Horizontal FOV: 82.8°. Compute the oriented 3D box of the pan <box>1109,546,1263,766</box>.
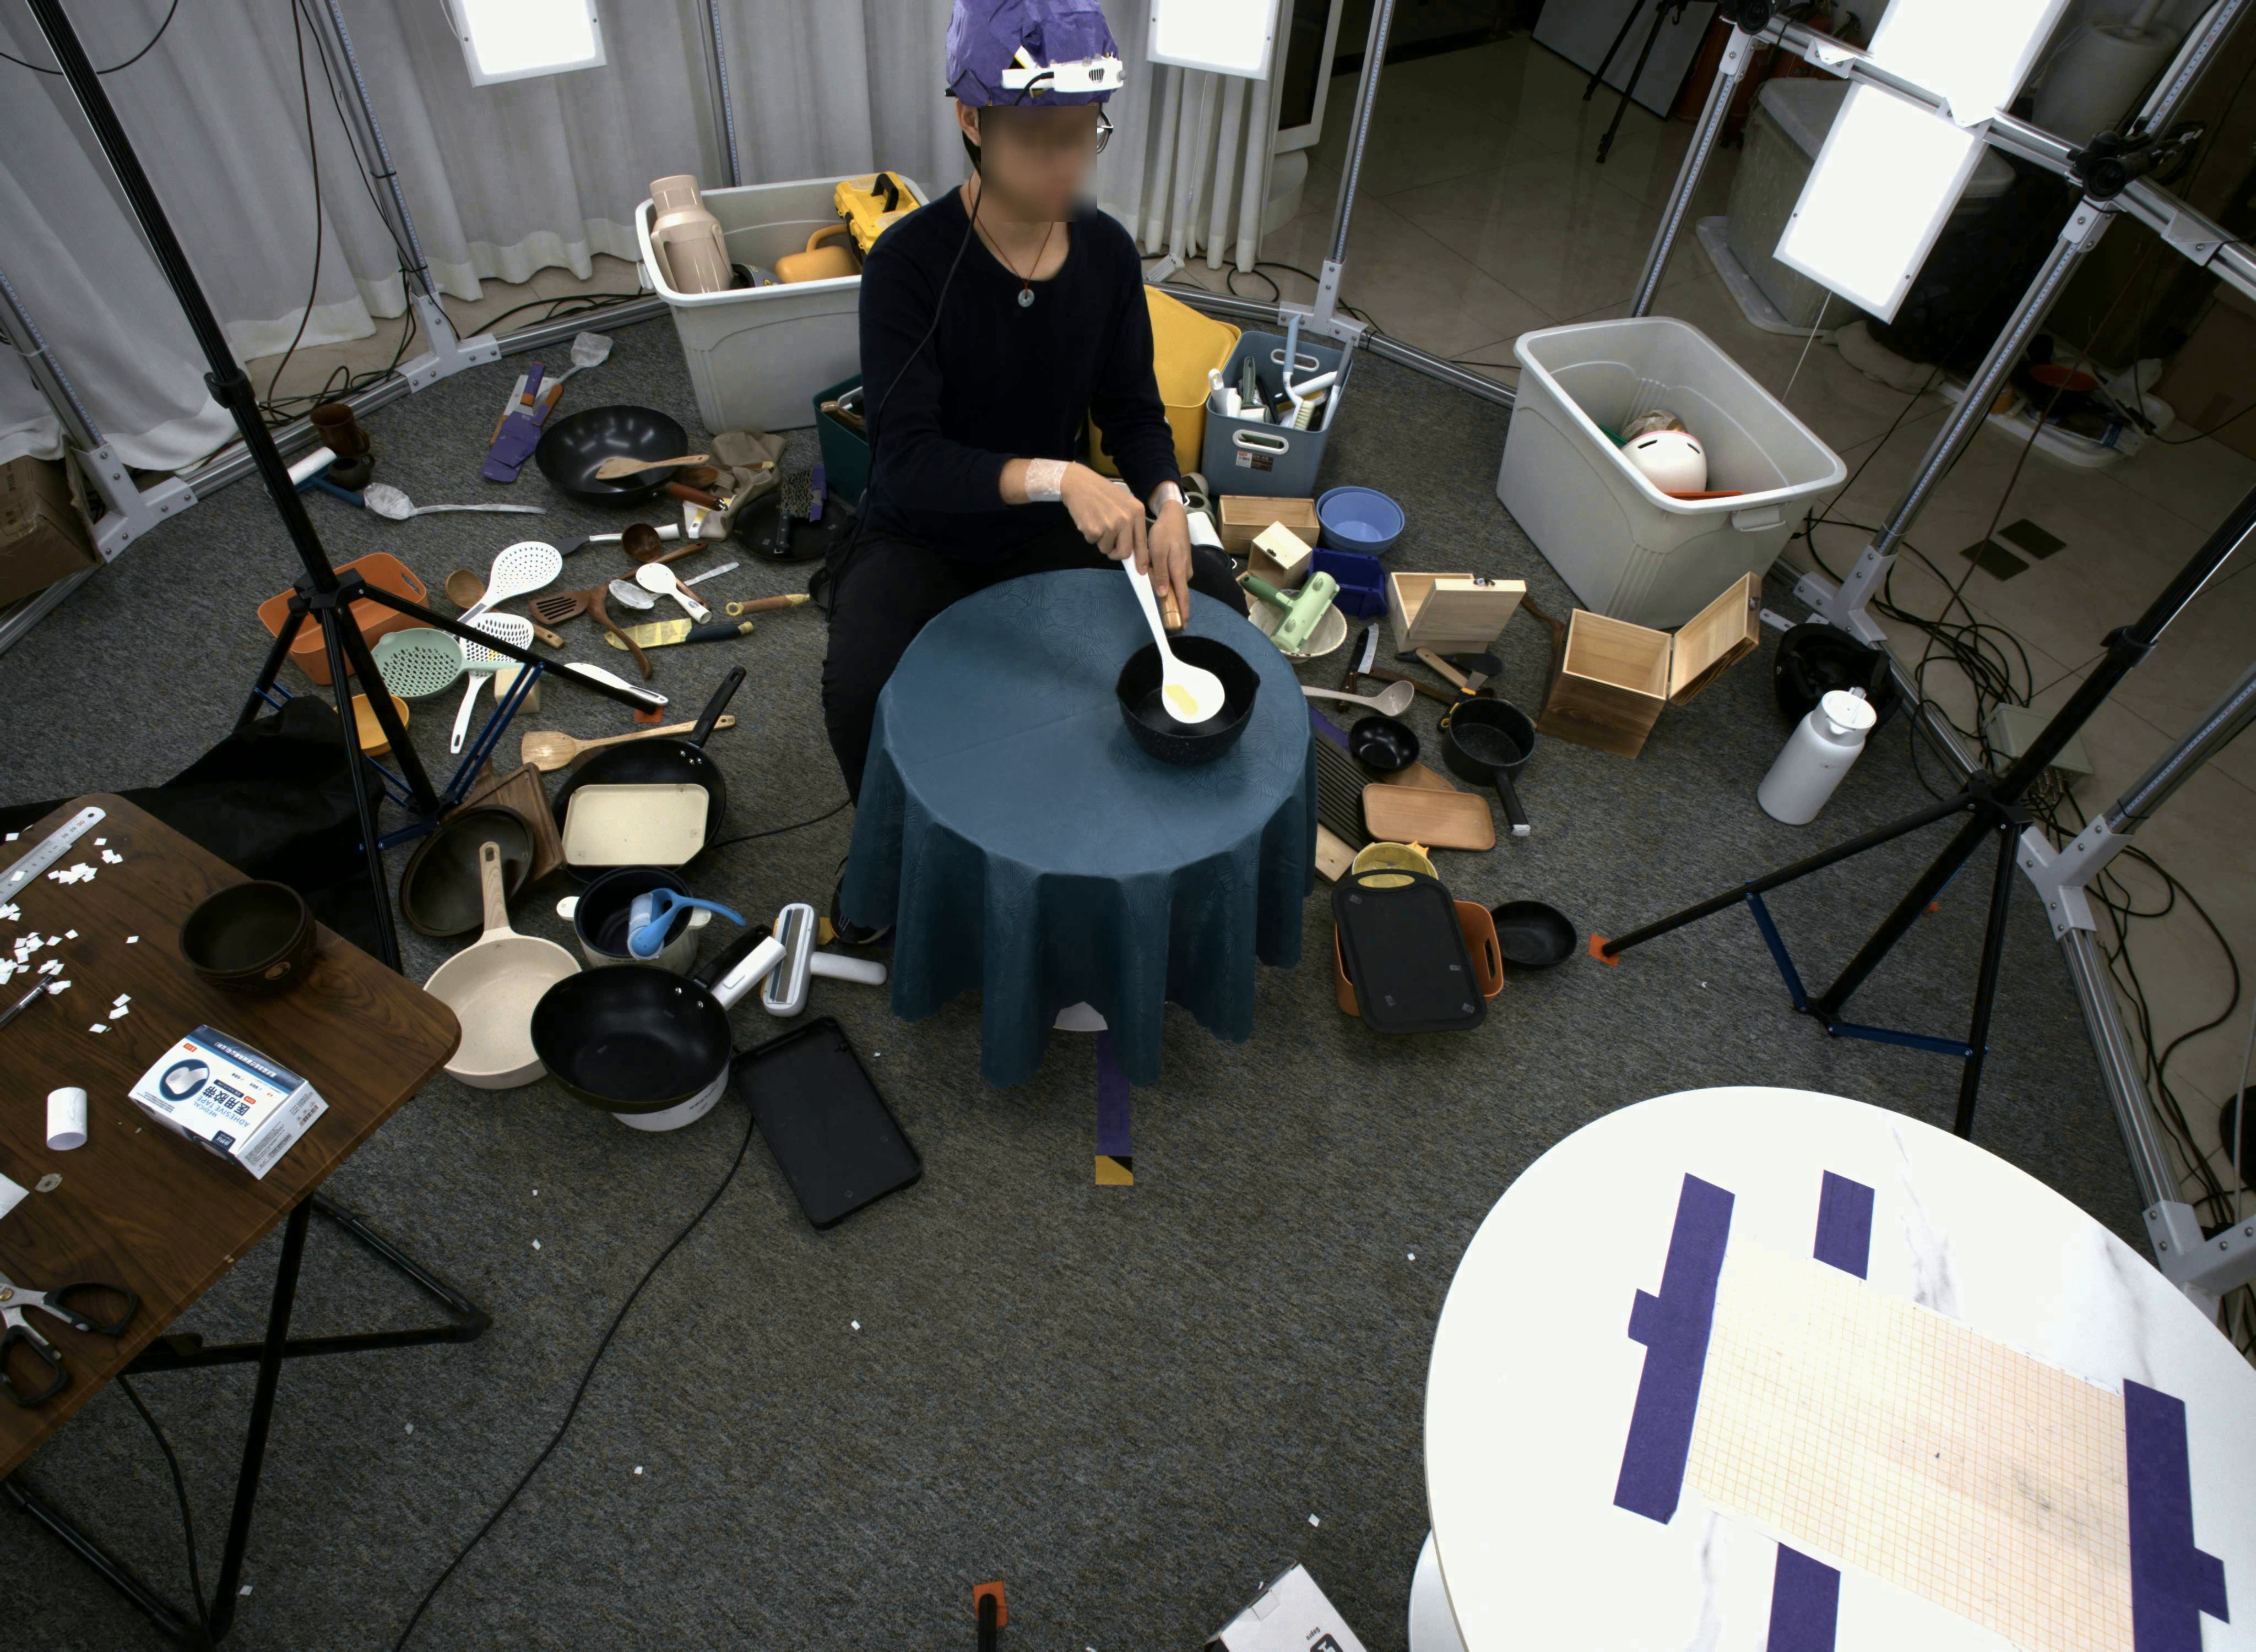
[{"bbox_3d":[0.067,-0.237,1.796,0.207,0.105,0.351,-8,55,-5],"label":"pan"}]

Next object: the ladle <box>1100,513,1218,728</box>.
[{"bbox_3d":[0.035,-0.270,1.696,0.090,0.288,0.071,-27,23,-12],"label":"ladle"}]
